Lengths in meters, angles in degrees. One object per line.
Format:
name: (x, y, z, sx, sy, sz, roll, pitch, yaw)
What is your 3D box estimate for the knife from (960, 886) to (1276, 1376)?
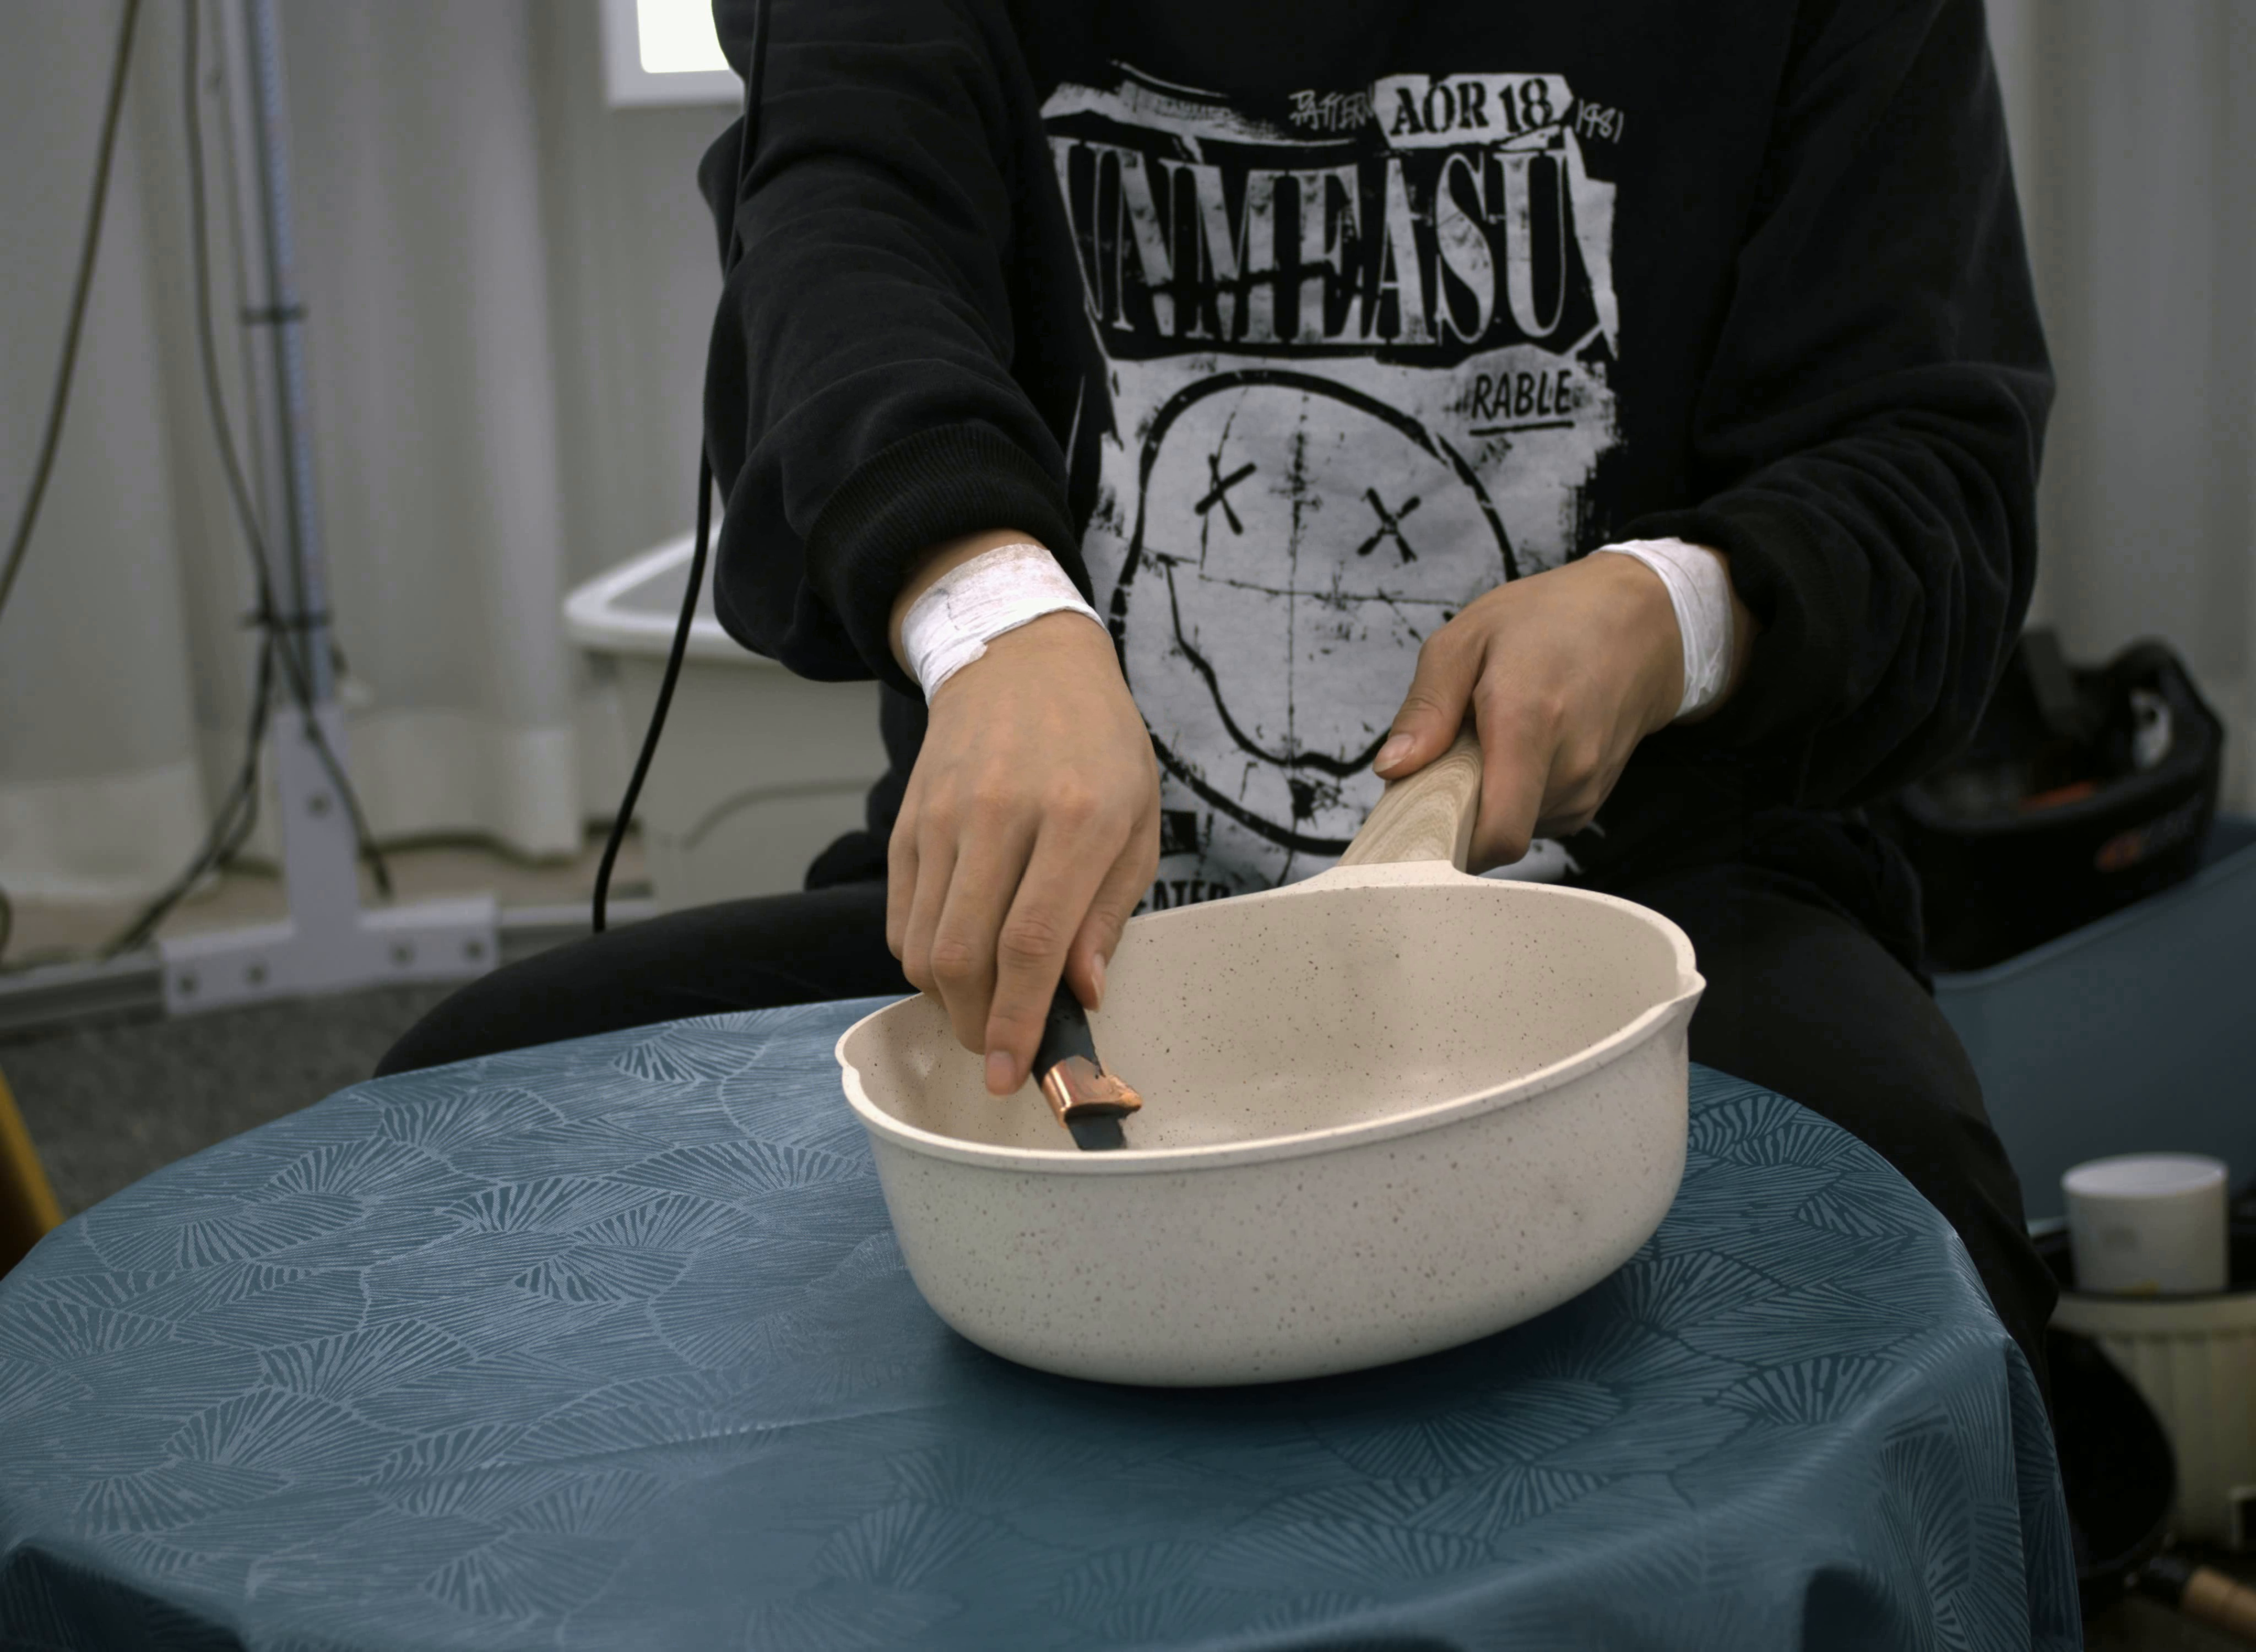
knife: (-0.005, 0.087, 1.597, 0.026, 0.017, 0.229, -1, 35, -24)

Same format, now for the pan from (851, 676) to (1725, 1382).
pan: (0.076, 0.058, 1.683, 0.263, 0.101, 0.437, -6, 14, 19)
